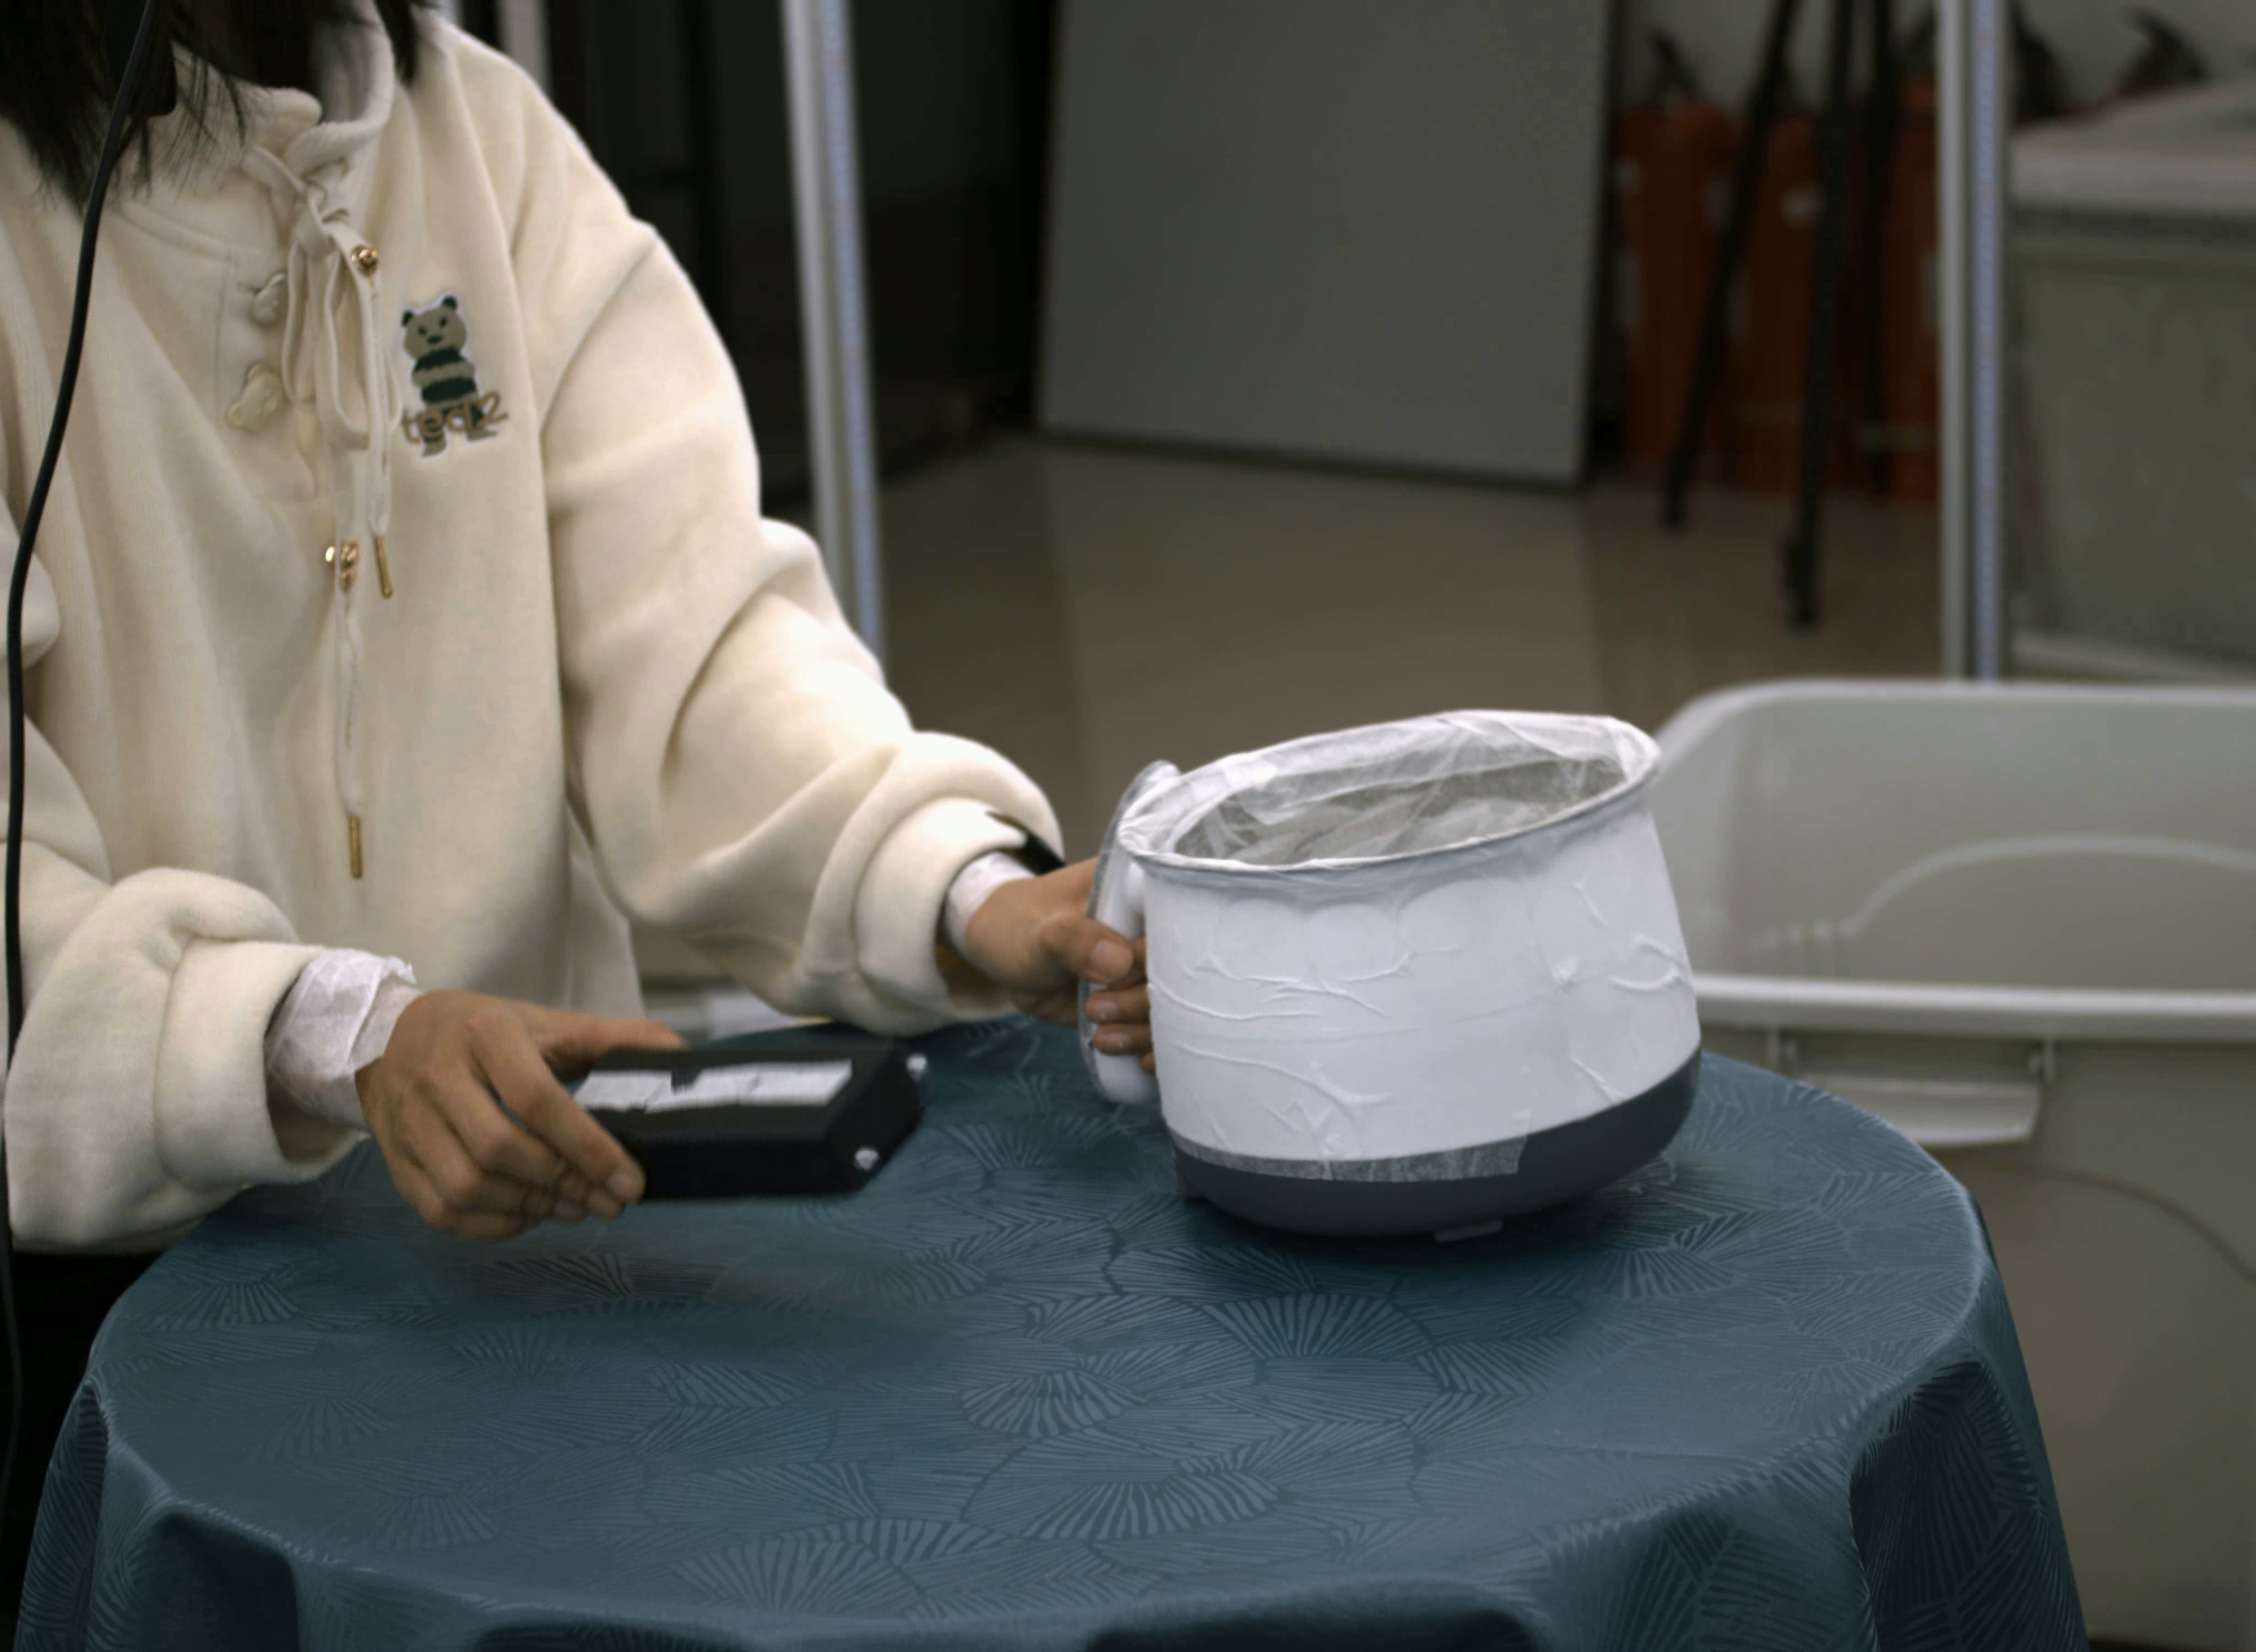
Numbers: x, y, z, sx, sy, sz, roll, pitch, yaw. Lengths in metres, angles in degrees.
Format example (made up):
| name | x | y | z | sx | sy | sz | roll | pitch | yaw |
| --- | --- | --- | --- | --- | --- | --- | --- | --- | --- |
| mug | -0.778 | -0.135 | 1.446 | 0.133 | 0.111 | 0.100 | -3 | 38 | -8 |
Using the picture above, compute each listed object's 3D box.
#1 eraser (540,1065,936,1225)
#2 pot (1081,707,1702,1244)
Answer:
| name | x | y | z | sx | sy | sz | roll | pitch | yaw |
| --- | --- | --- | --- | --- | --- | --- | --- | --- | --- |
| eraser | -0.121 | 0.099 | 1.686 | 0.126 | 0.030 | 0.053 | -3 | 32 | 39 |
| pot | 0.073 | 0.045 | 1.747 | 0.235 | 0.138 | 0.175 | 4 | 18 | 42 |
